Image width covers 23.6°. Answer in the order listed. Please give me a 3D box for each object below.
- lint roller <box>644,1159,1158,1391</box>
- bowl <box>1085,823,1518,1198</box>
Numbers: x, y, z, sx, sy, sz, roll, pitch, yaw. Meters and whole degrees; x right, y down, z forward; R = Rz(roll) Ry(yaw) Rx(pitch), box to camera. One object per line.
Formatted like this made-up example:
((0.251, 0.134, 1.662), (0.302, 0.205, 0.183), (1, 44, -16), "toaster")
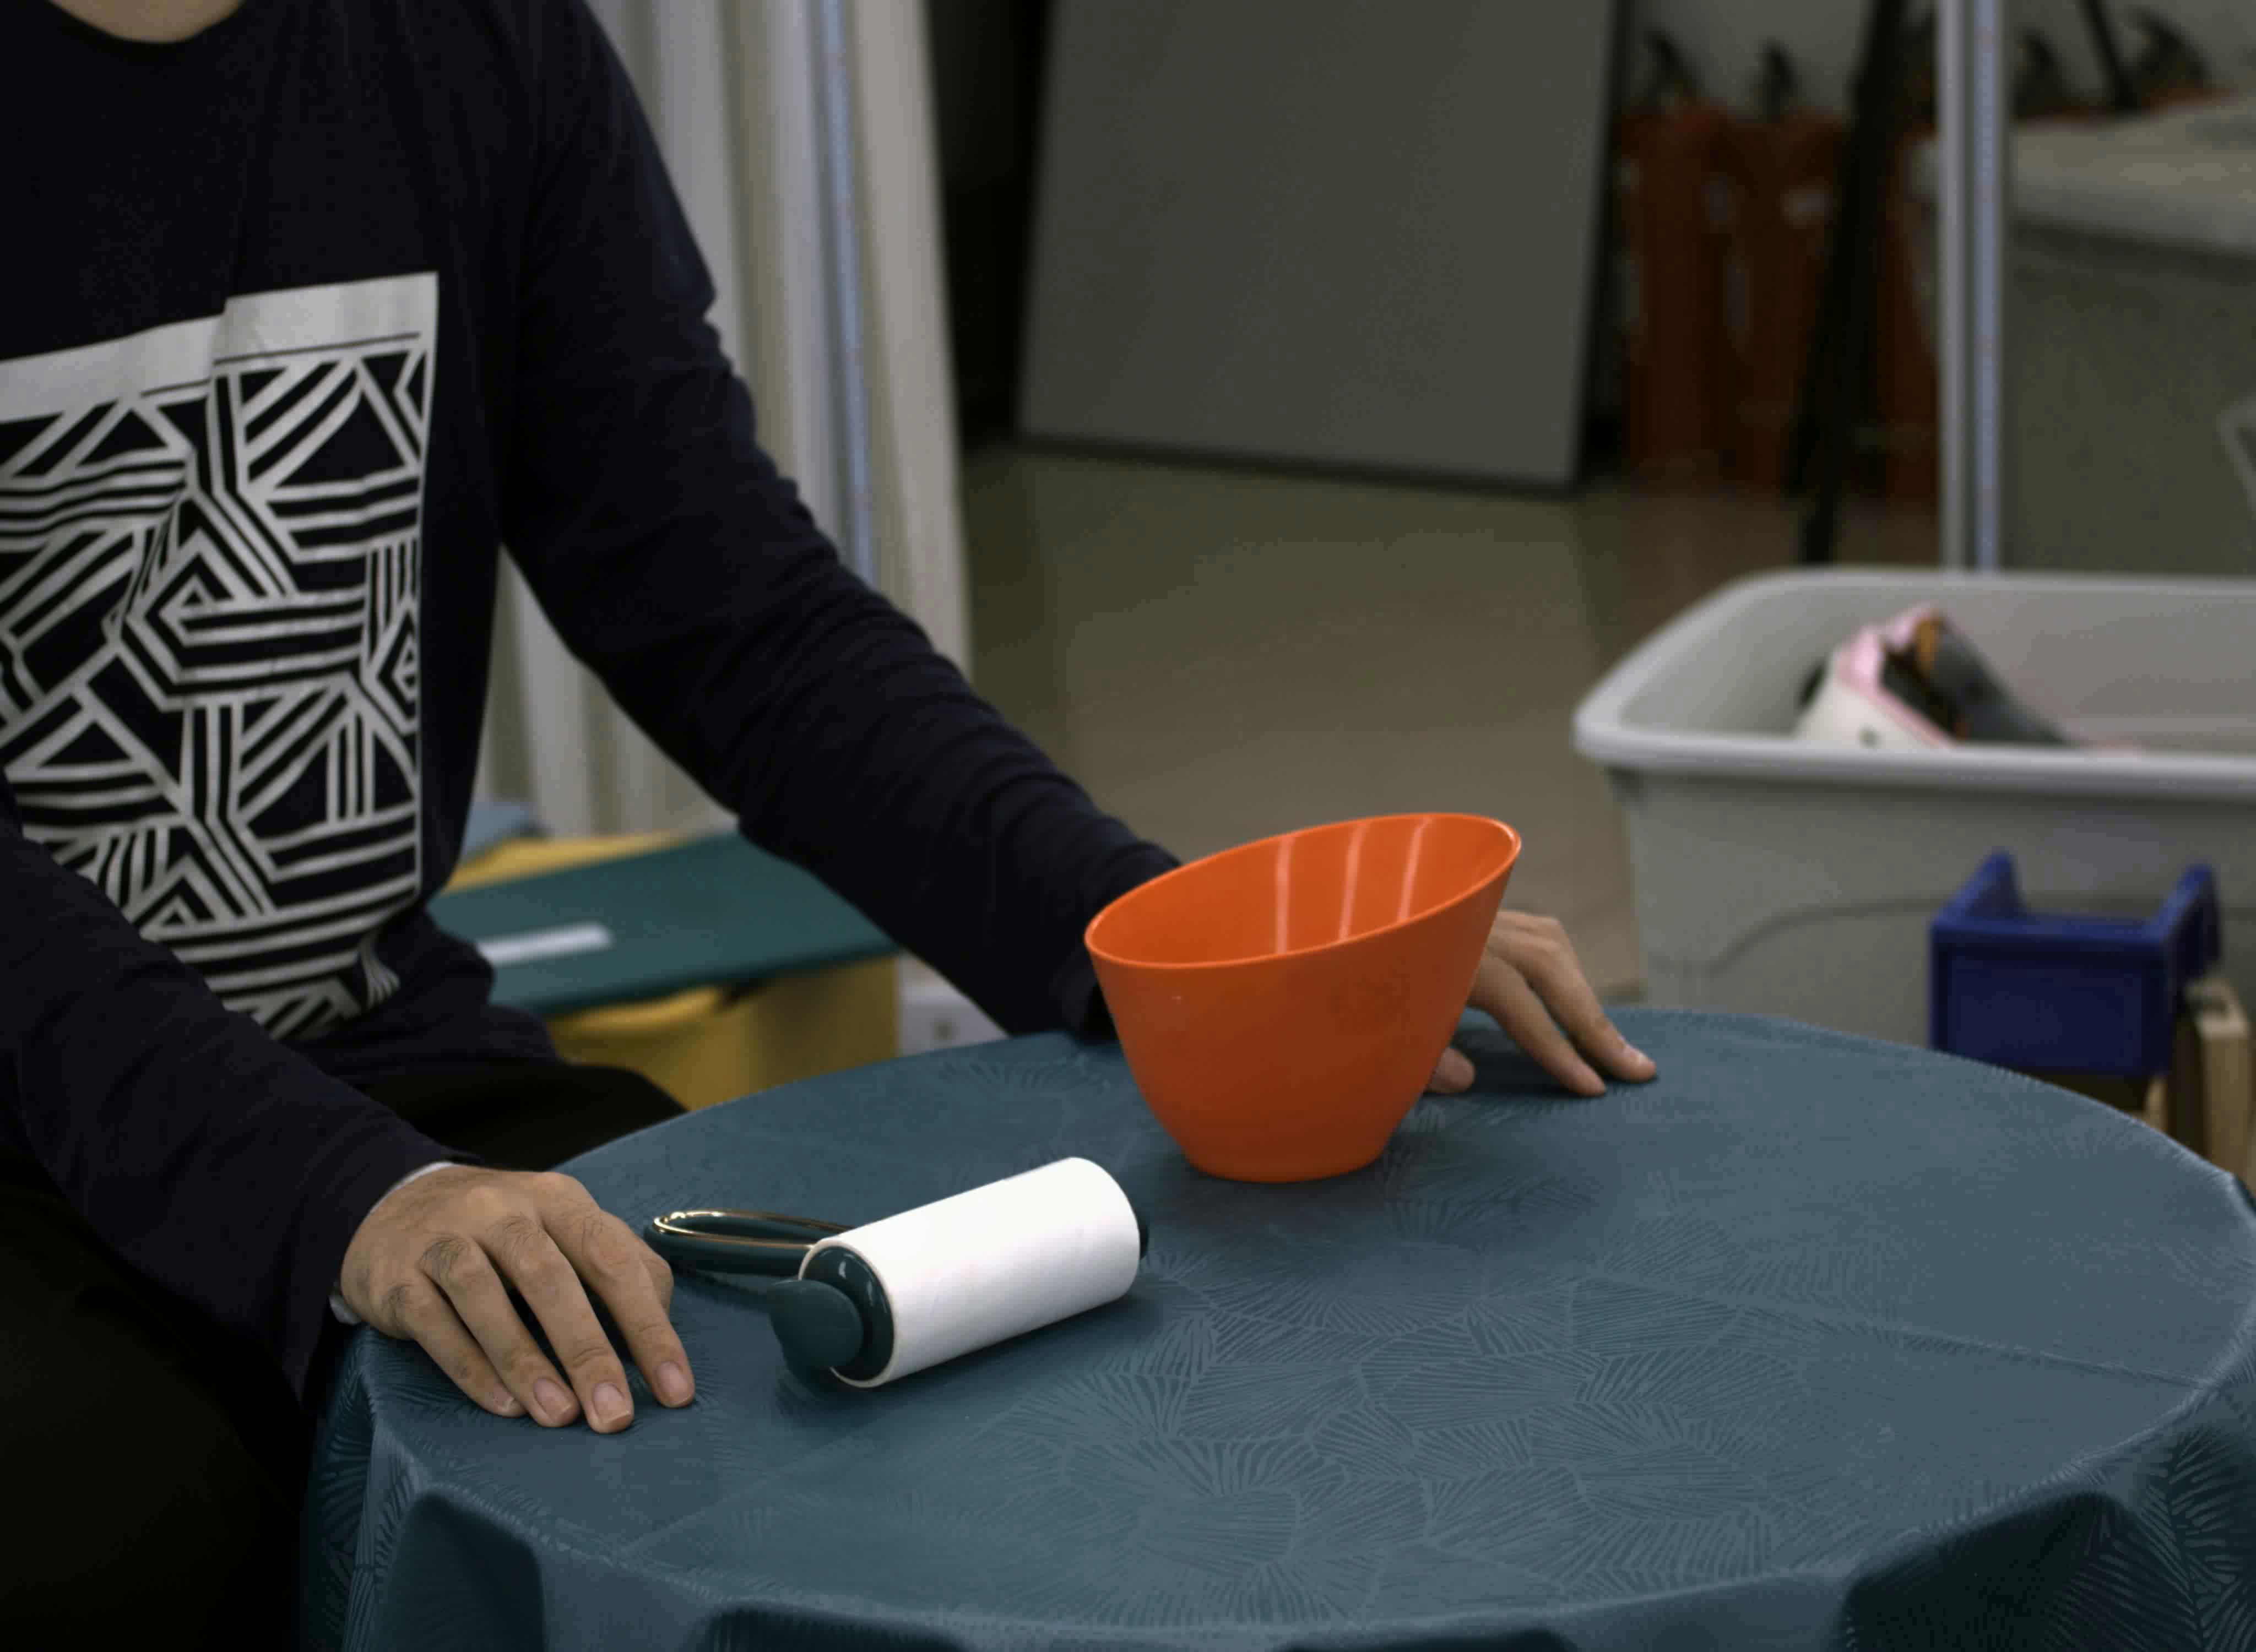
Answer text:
((-0.093, 0.131, 1.682), (0.131, 0.049, 0.182), (-15, 14, -40), "lint roller")
((0.061, 0.063, 1.790), (0.146, 0.106, 0.148), (-6, 11, 0), "bowl")
